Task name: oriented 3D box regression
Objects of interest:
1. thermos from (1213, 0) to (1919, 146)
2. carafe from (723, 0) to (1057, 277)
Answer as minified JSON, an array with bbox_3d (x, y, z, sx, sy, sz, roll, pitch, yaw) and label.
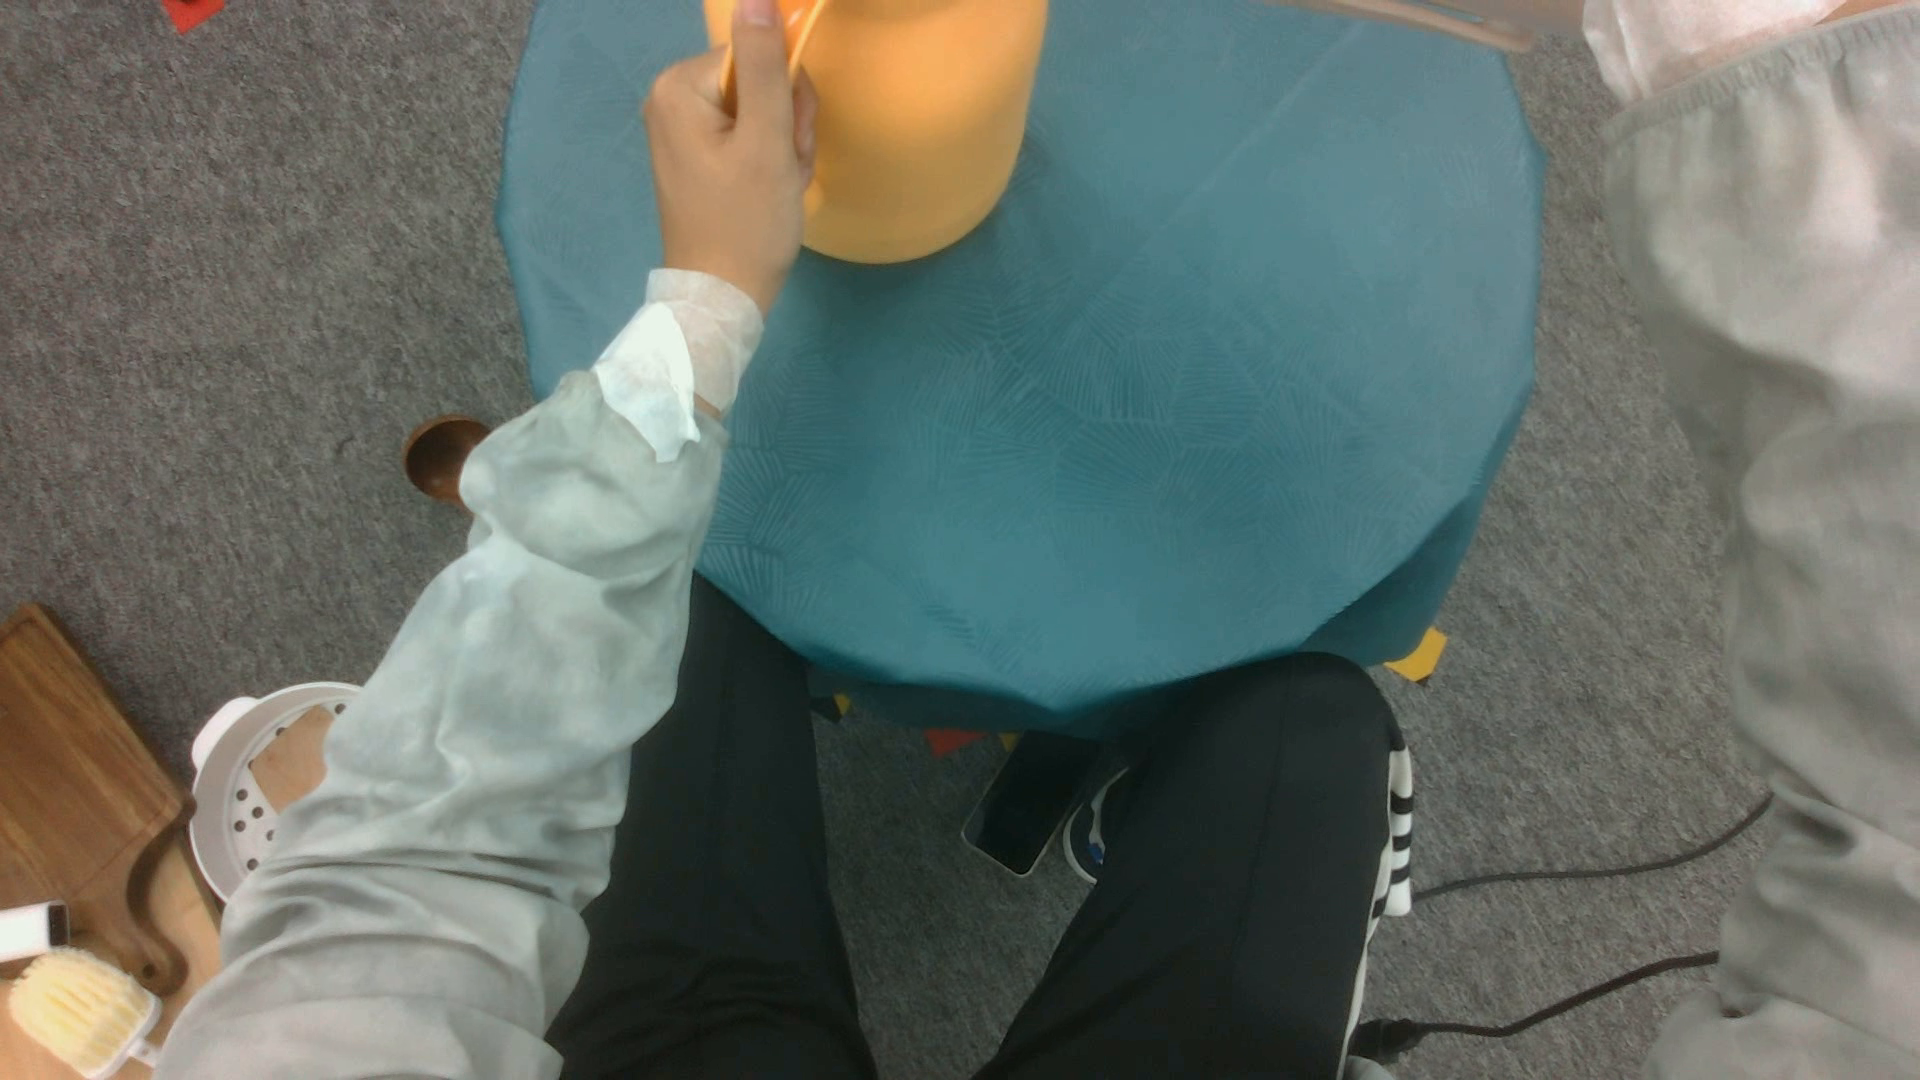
[{"bbox_3d":[0.192,-0.241,0.444,0.406,0.207,0.175,11,104,-4],"label":"thermos"},{"bbox_3d":[-0.045,-0.232,0.670,0.163,0.259,0.203,28,75,5],"label":"carafe"}]
